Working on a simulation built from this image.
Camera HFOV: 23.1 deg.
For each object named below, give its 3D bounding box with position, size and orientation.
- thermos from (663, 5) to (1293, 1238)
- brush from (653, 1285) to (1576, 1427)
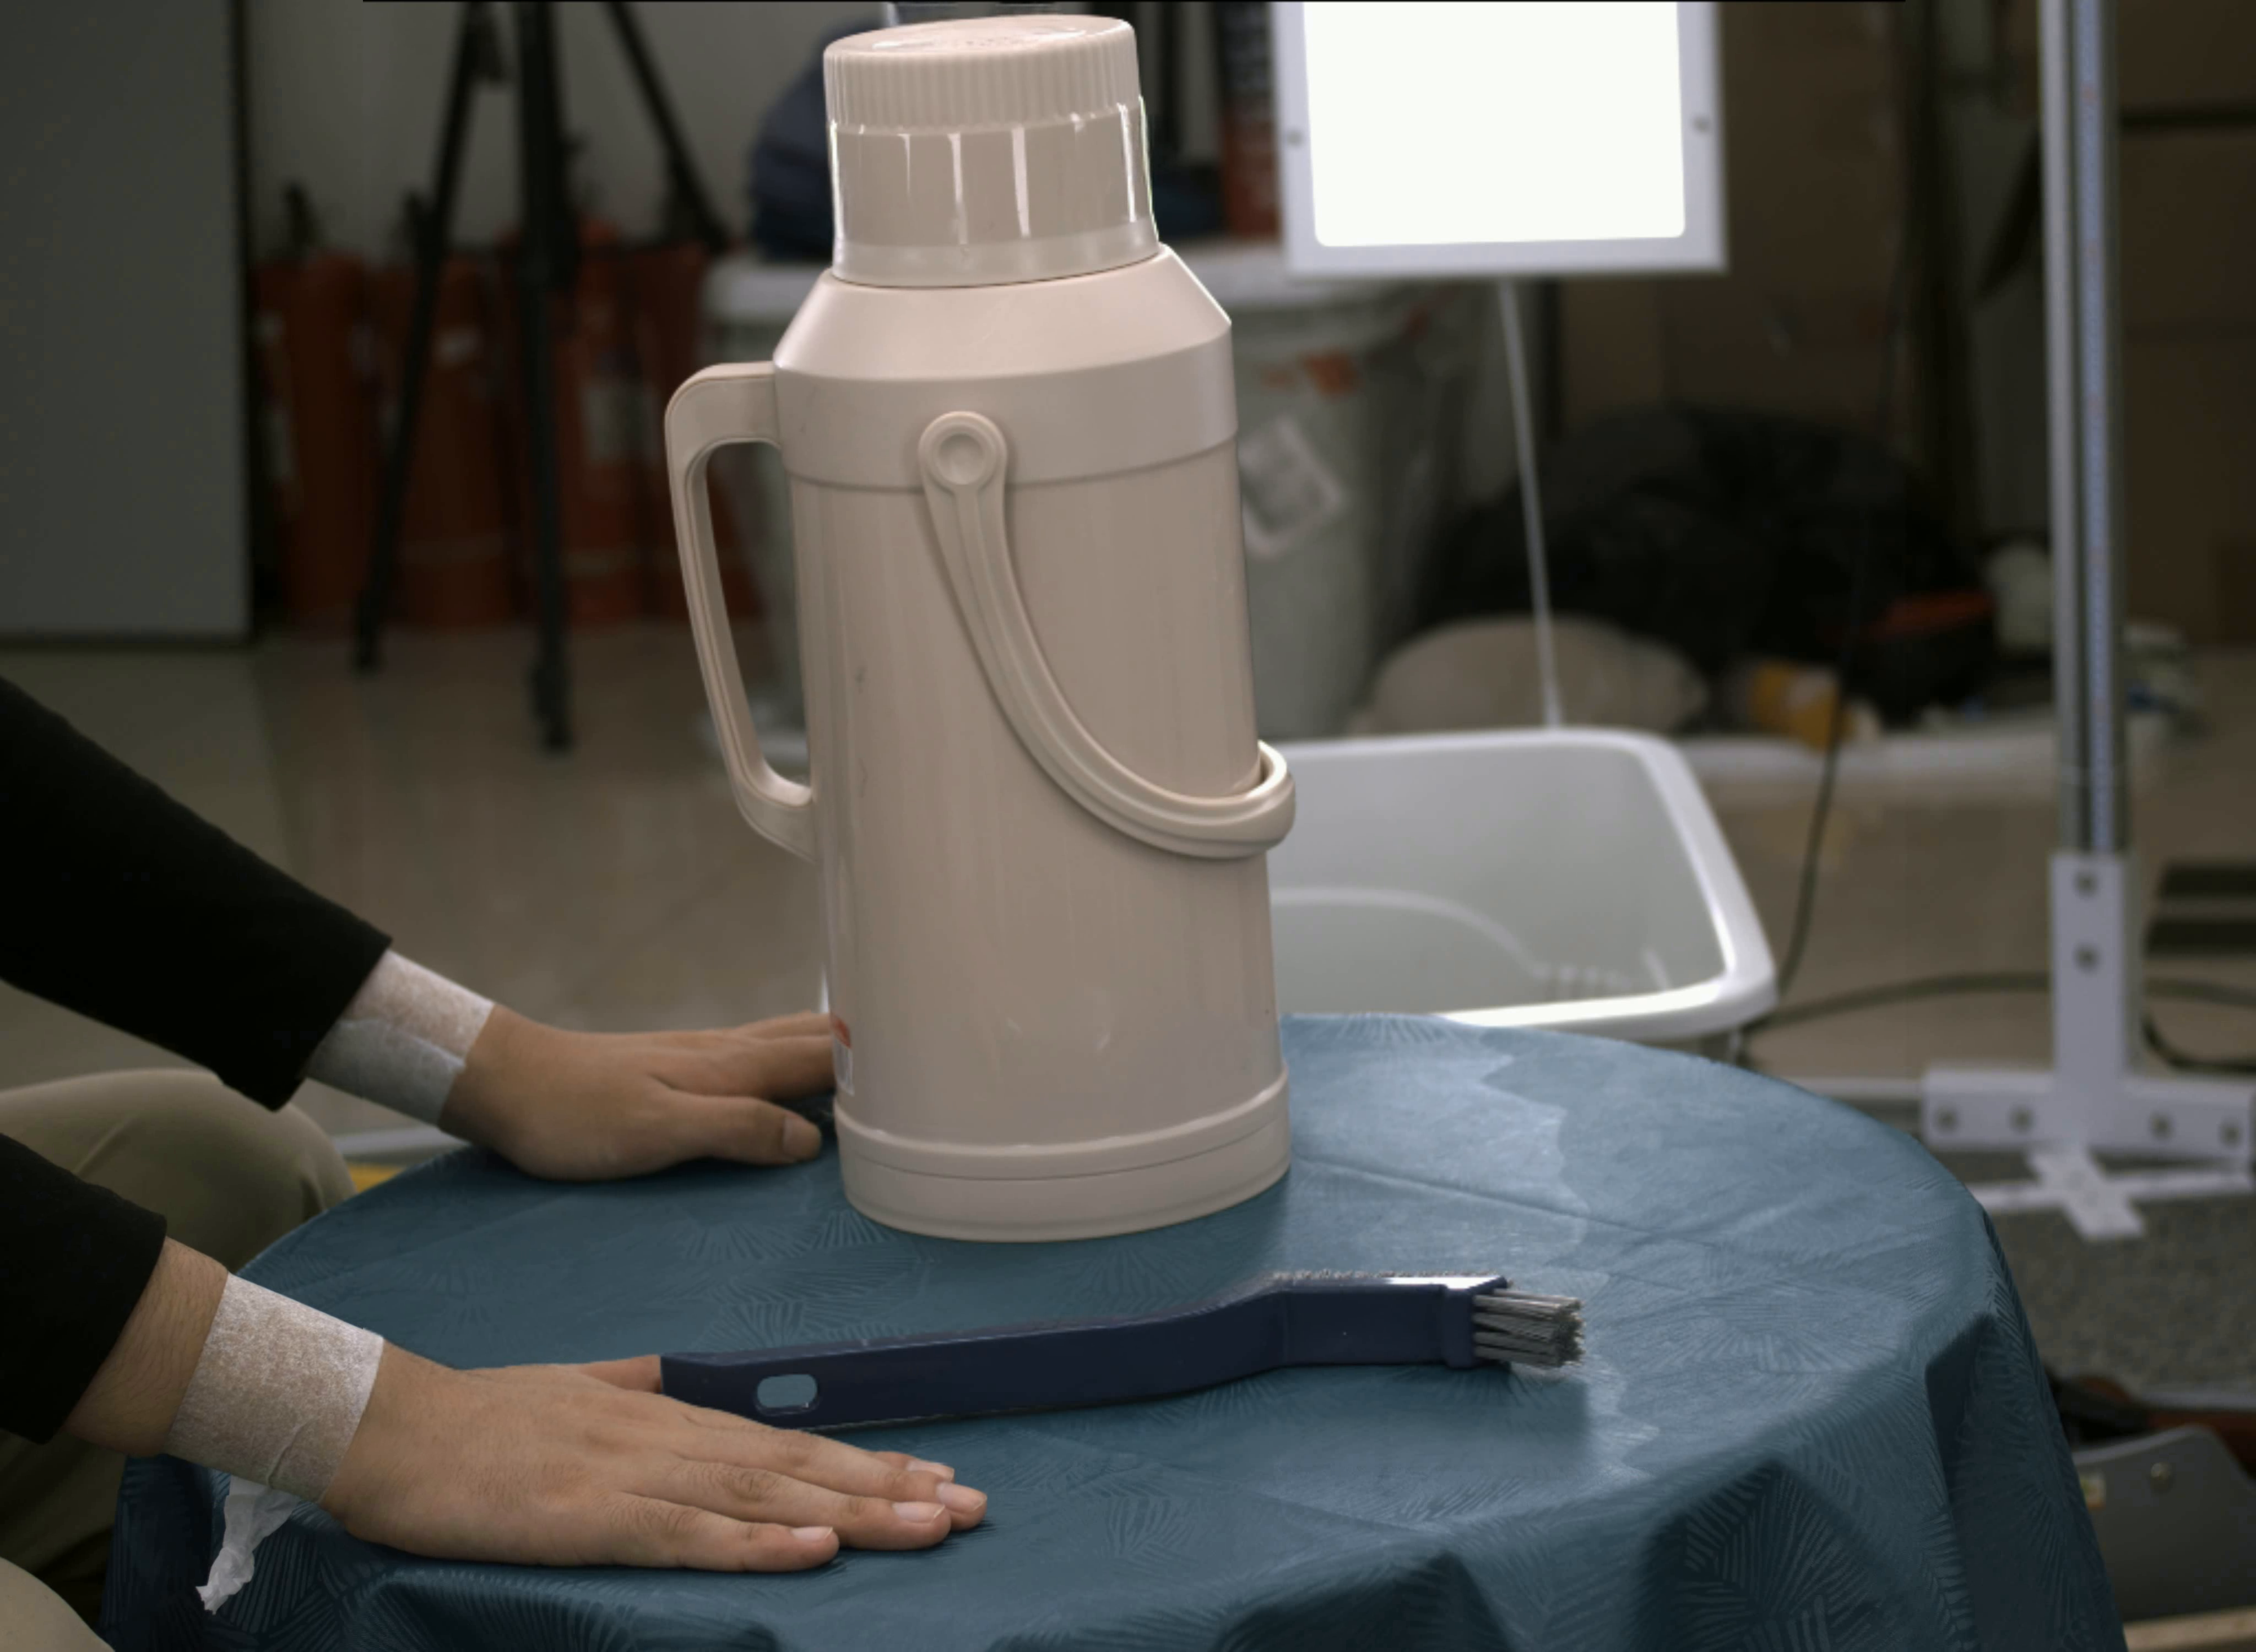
[{"bbox_3d":[-0.050,-0.071,1.886,0.208,0.408,0.173,-2,16,10],"label":"thermos"},{"bbox_3d":[-0.005,0.162,1.683,0.270,0.033,0.096,-5,12,-11],"label":"brush"}]
